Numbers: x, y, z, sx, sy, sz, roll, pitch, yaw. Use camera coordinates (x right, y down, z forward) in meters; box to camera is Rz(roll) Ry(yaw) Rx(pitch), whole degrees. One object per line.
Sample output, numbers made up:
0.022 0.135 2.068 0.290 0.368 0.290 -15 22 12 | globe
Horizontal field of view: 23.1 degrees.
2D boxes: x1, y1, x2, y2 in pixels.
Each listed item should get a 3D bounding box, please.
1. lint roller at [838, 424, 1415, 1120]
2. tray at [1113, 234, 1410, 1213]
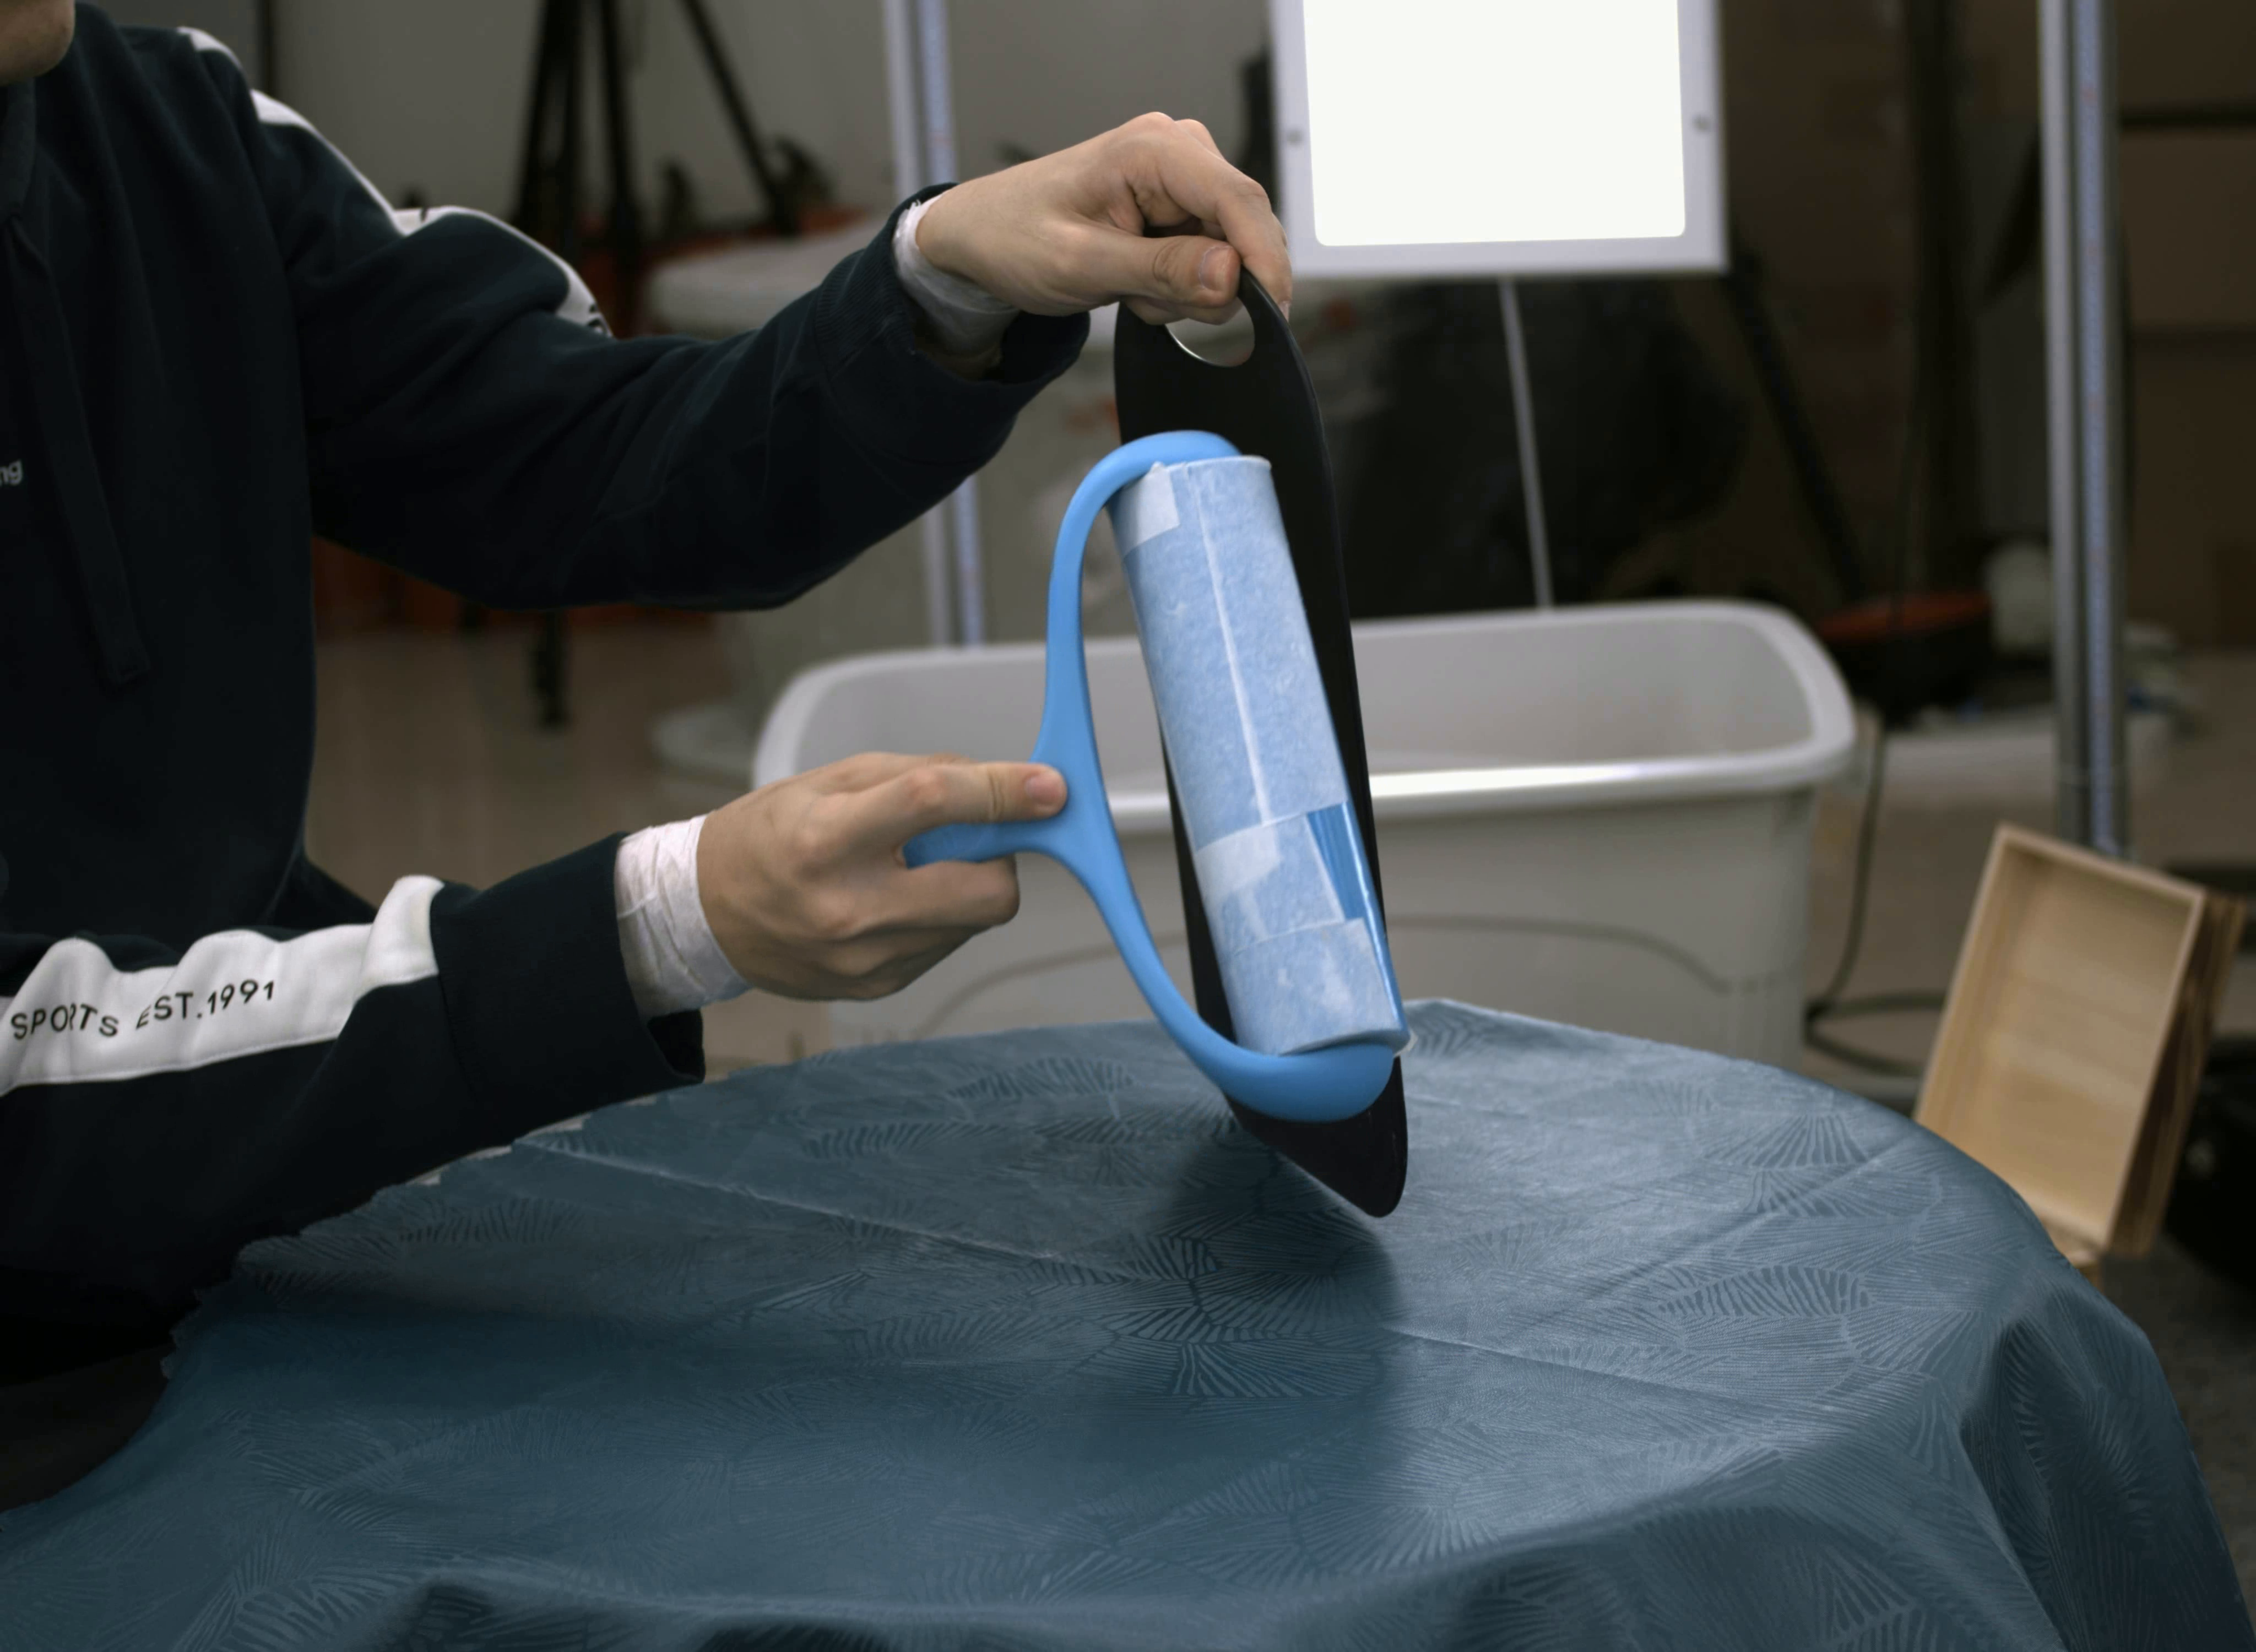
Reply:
-0.015 0.001 1.738 0.182 0.230 0.067 -20 -14 13 | lint roller
0.044 -0.038 1.857 0.009 0.326 0.213 -11 13 -16 | tray
